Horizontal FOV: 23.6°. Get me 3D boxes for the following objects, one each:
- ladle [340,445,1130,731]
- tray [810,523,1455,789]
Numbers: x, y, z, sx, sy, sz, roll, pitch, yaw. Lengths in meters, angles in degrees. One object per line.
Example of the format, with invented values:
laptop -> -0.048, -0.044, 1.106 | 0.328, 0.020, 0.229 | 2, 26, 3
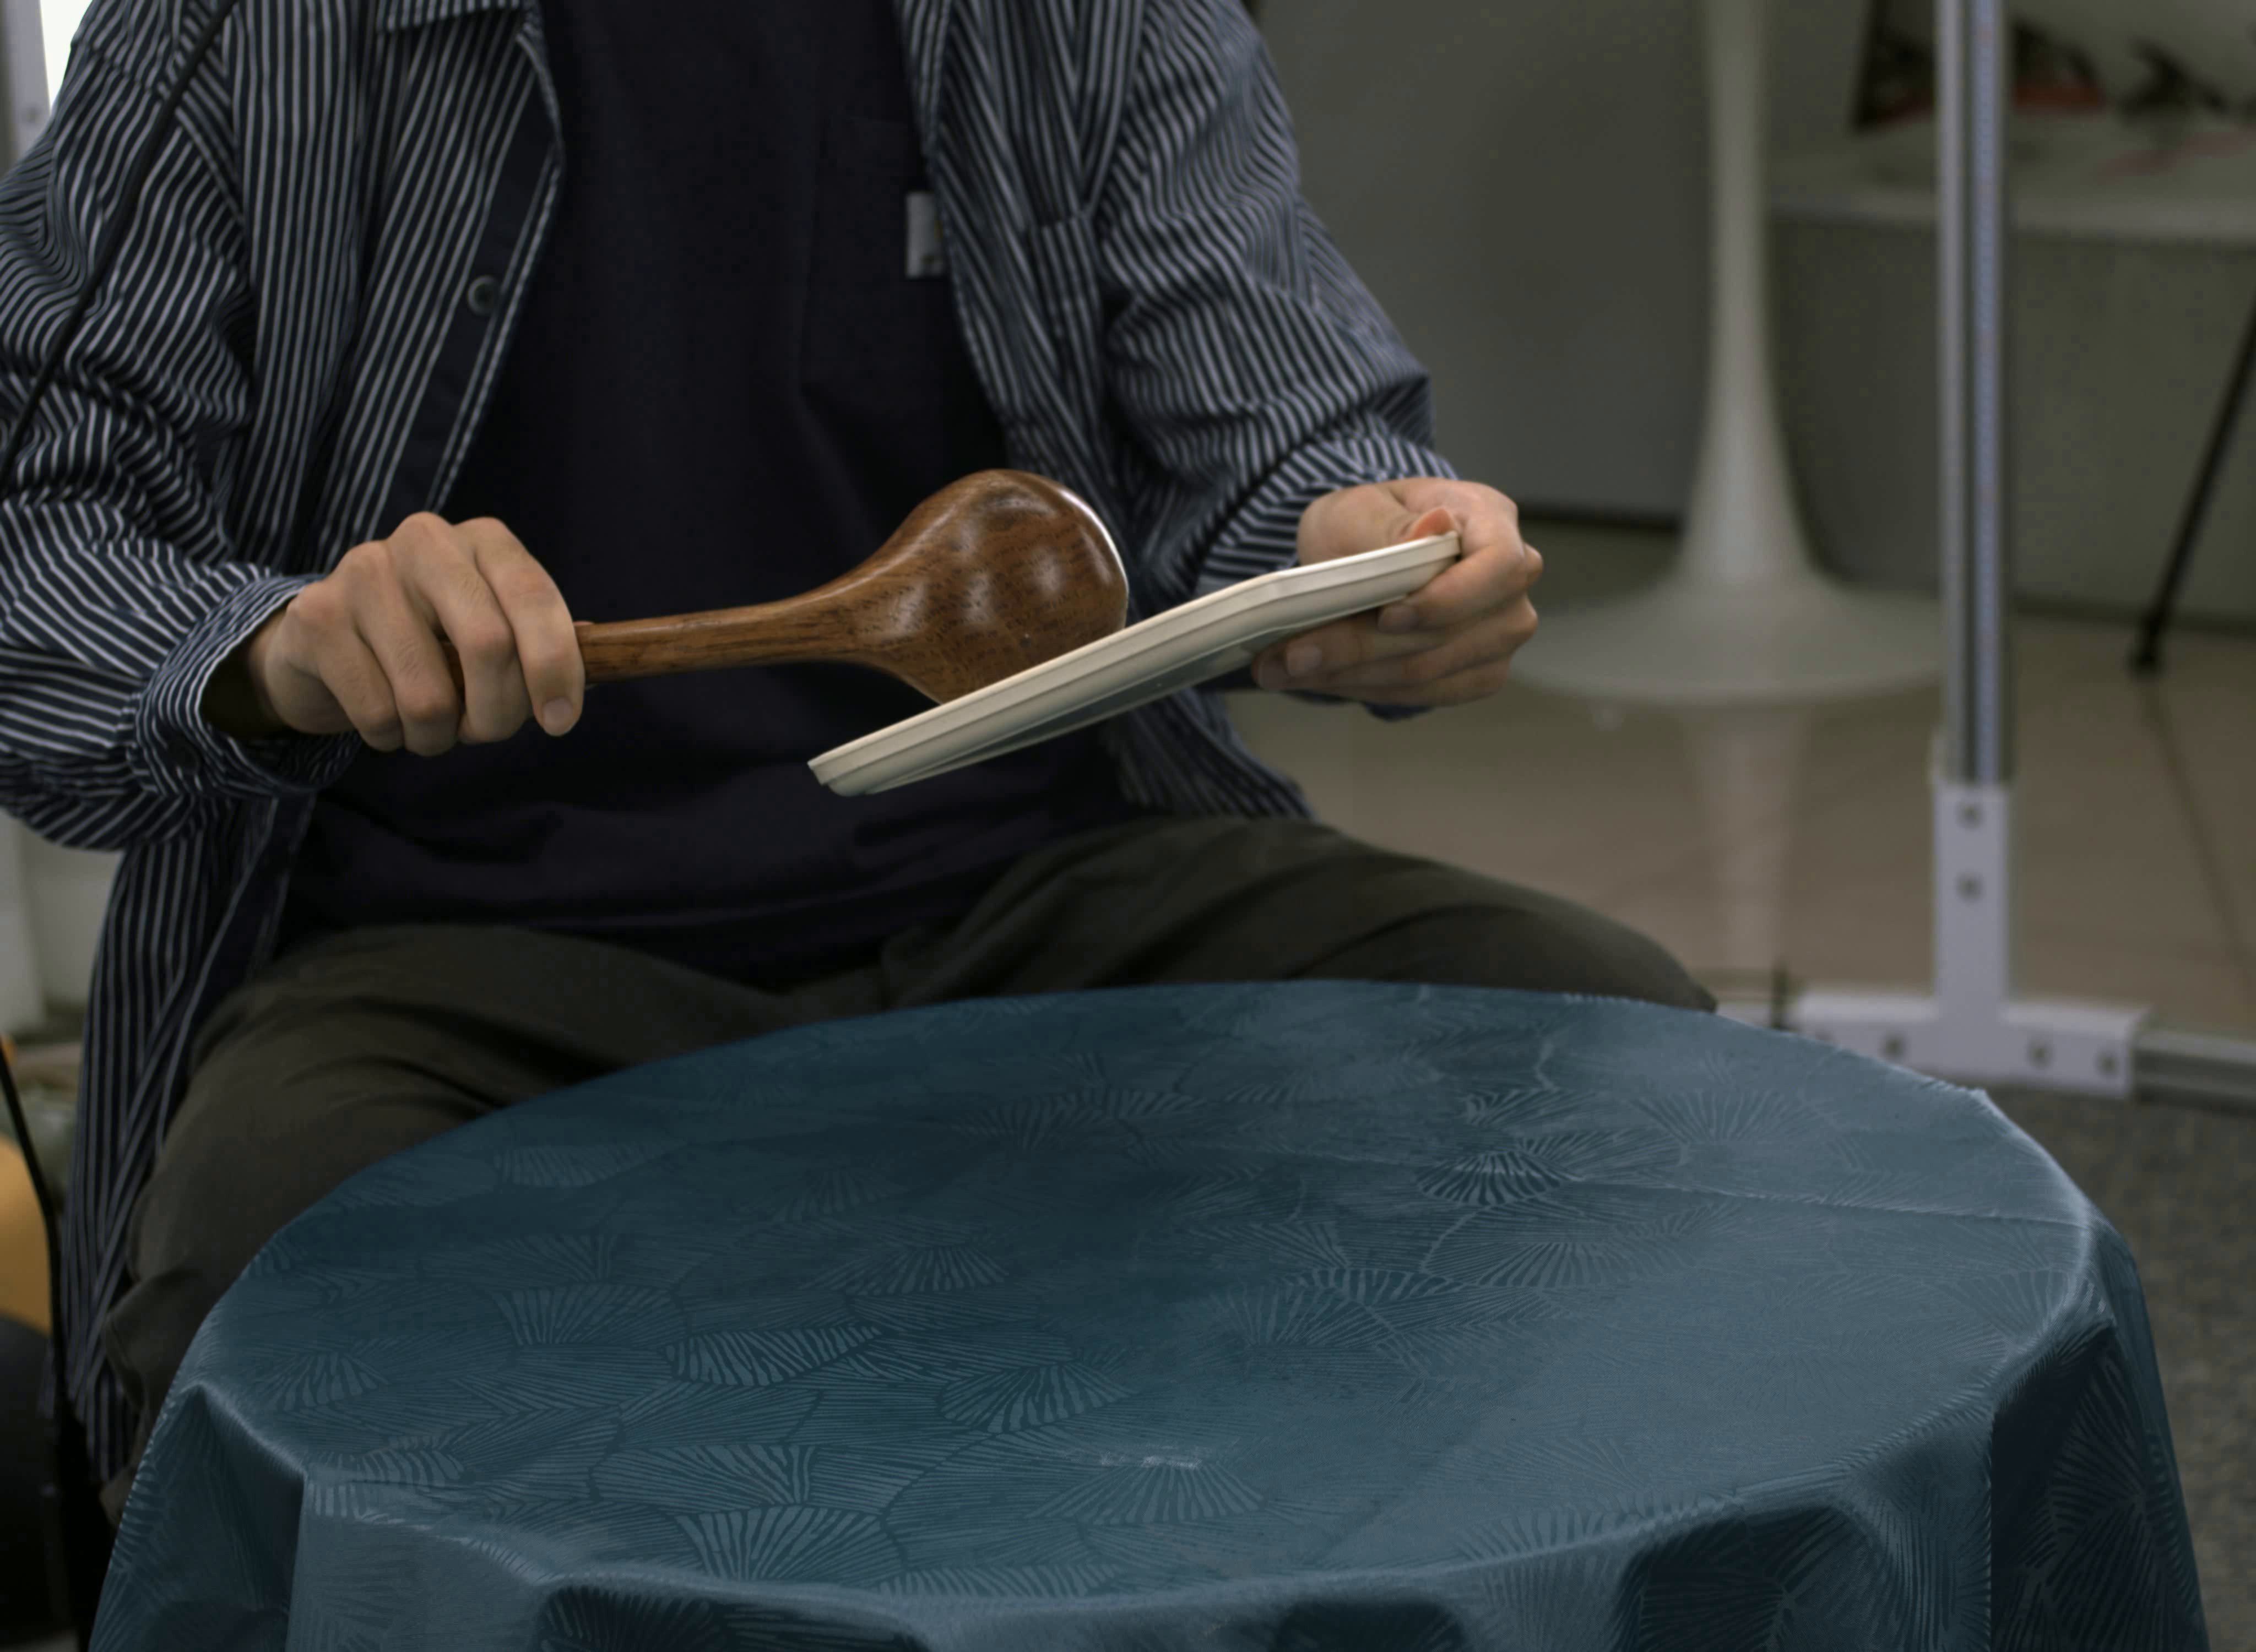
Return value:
ladle -> -0.127, -0.065, 1.753 | 0.275, 0.083, 0.075 | -9, -4, 31
tray -> 0.007, -0.054, 1.751 | 0.171, 0.017, 0.237 | -22, -2, 22
